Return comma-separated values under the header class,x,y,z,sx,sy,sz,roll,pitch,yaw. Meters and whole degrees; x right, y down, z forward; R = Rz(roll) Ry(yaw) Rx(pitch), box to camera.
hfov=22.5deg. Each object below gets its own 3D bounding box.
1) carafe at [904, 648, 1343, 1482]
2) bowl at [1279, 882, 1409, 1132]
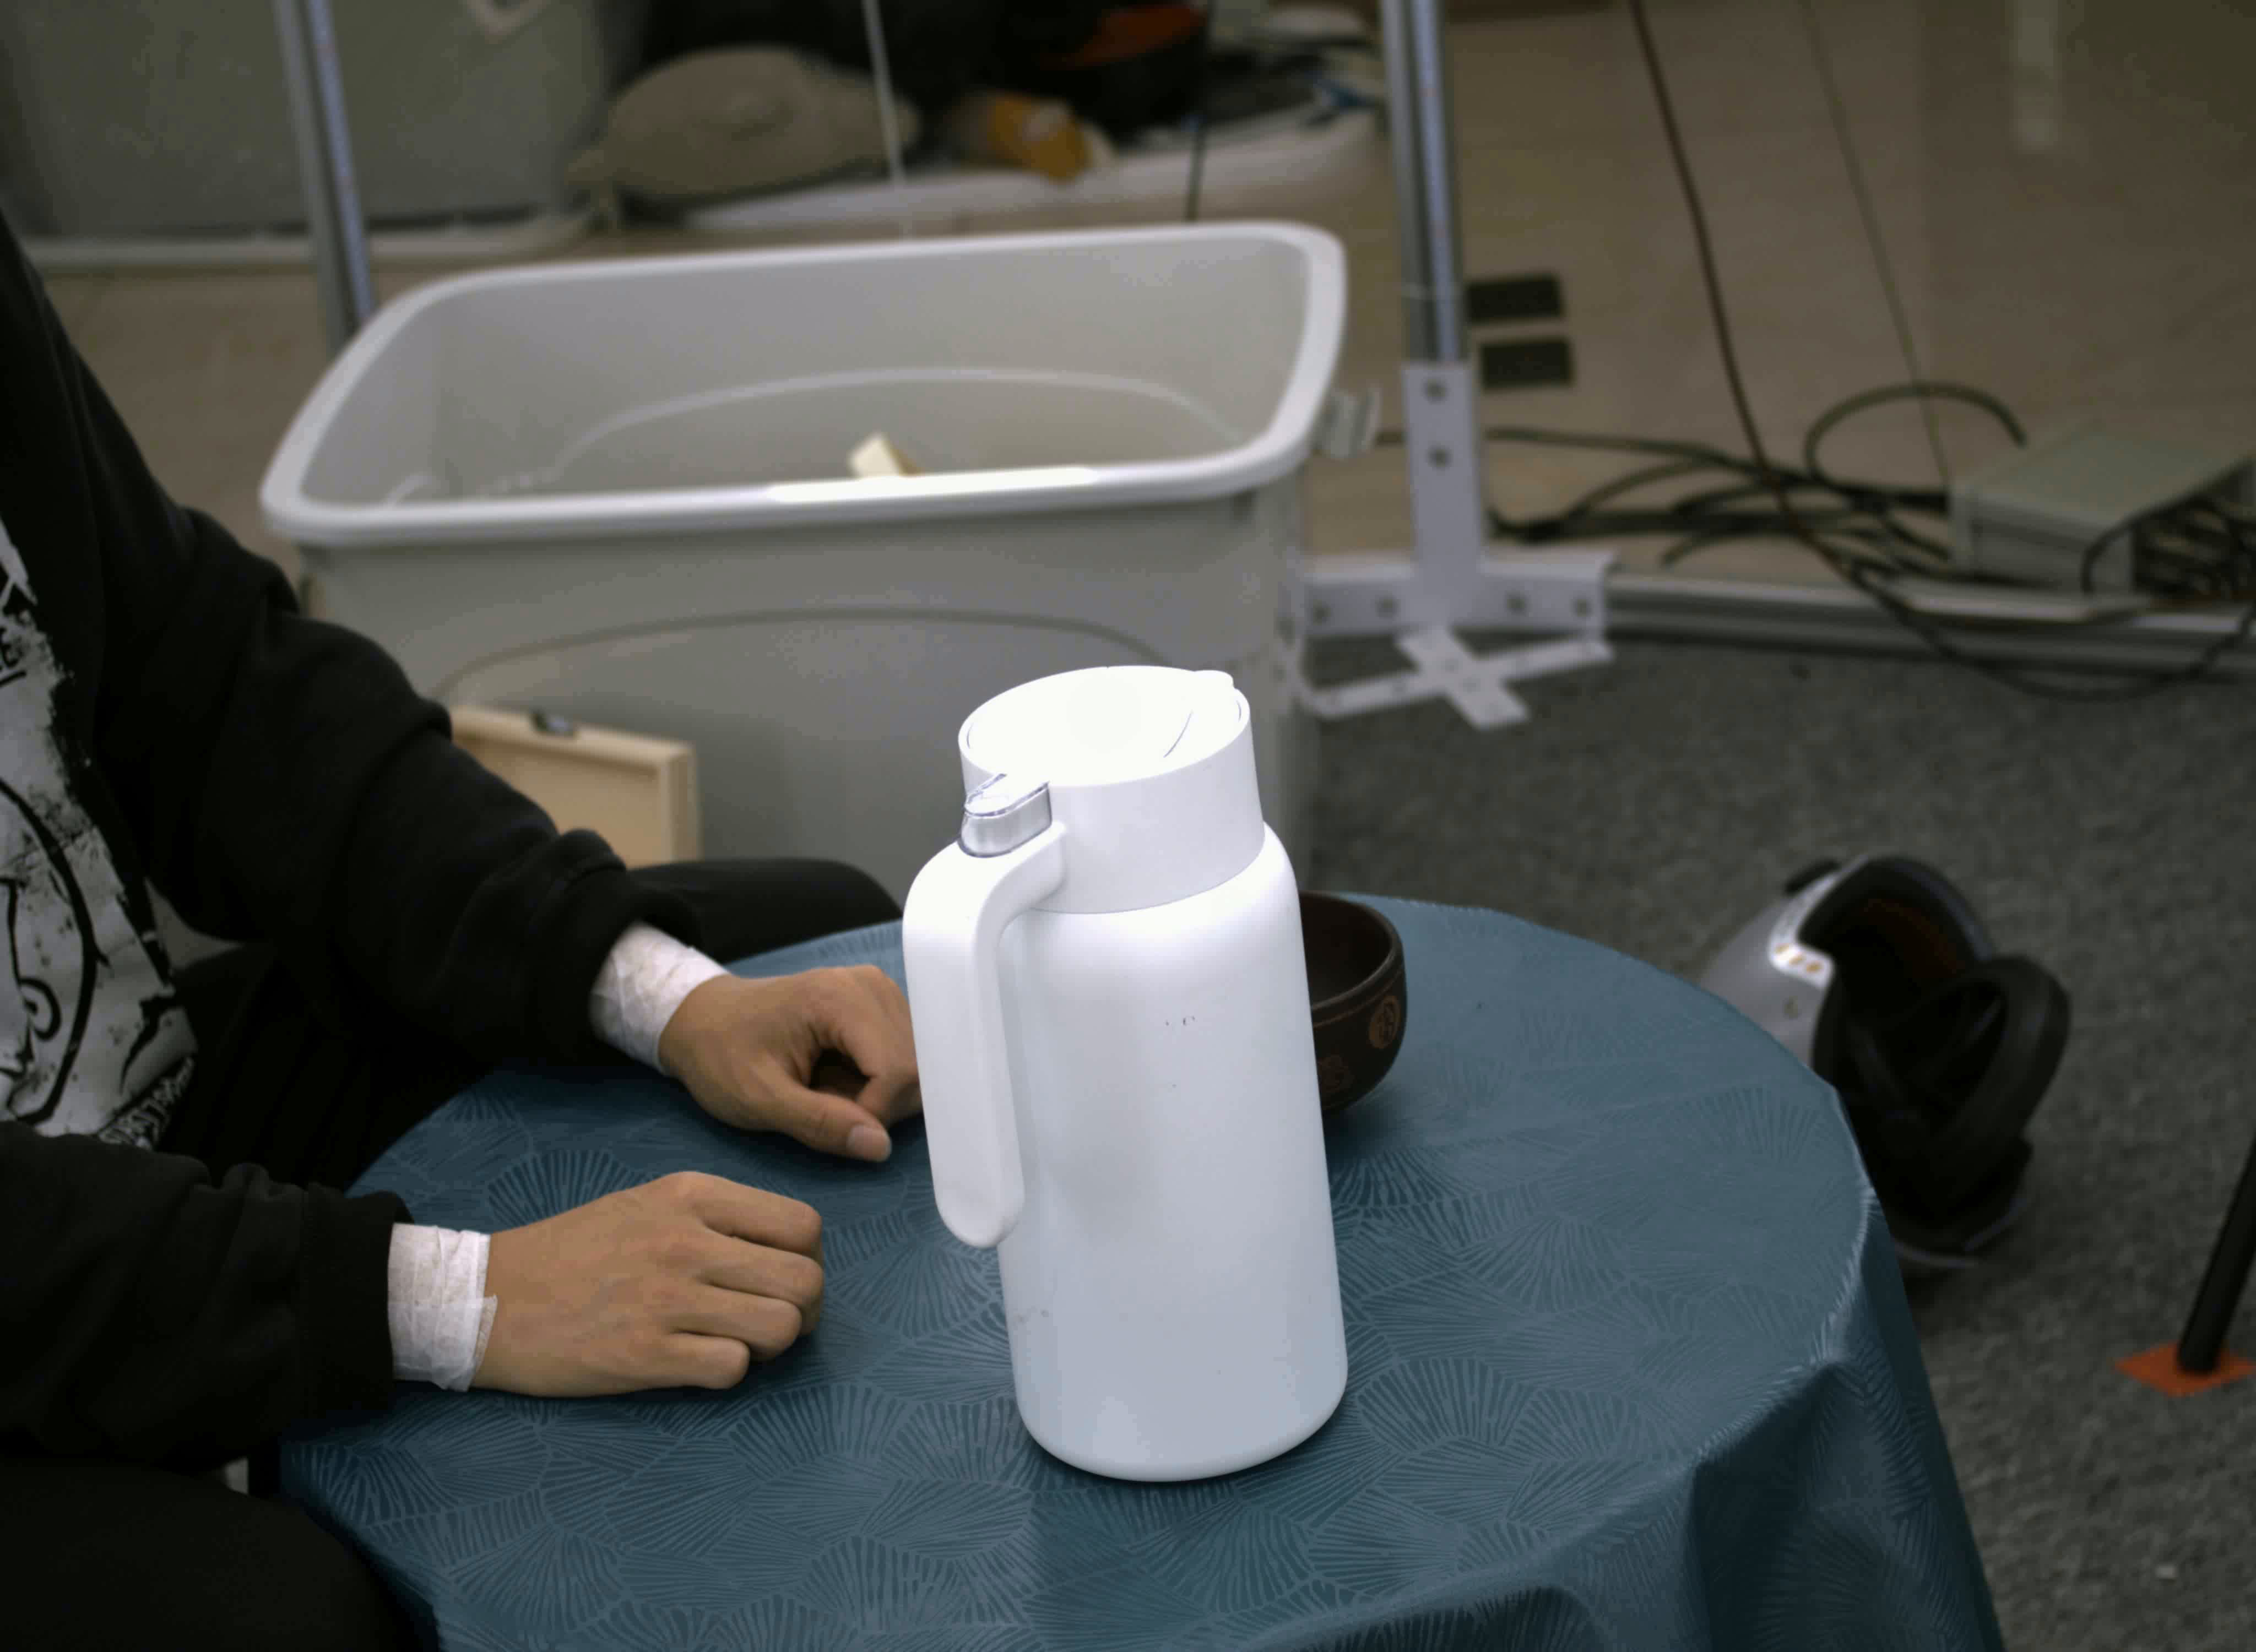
class,x,y,z,sx,sy,sz,roll,pitch,yaw
carafe,-0.003,0.092,1.931,0.123,0.273,0.171,14,32,31
bowl,0.050,0.077,2.181,0.118,0.071,0.116,-6,26,3
